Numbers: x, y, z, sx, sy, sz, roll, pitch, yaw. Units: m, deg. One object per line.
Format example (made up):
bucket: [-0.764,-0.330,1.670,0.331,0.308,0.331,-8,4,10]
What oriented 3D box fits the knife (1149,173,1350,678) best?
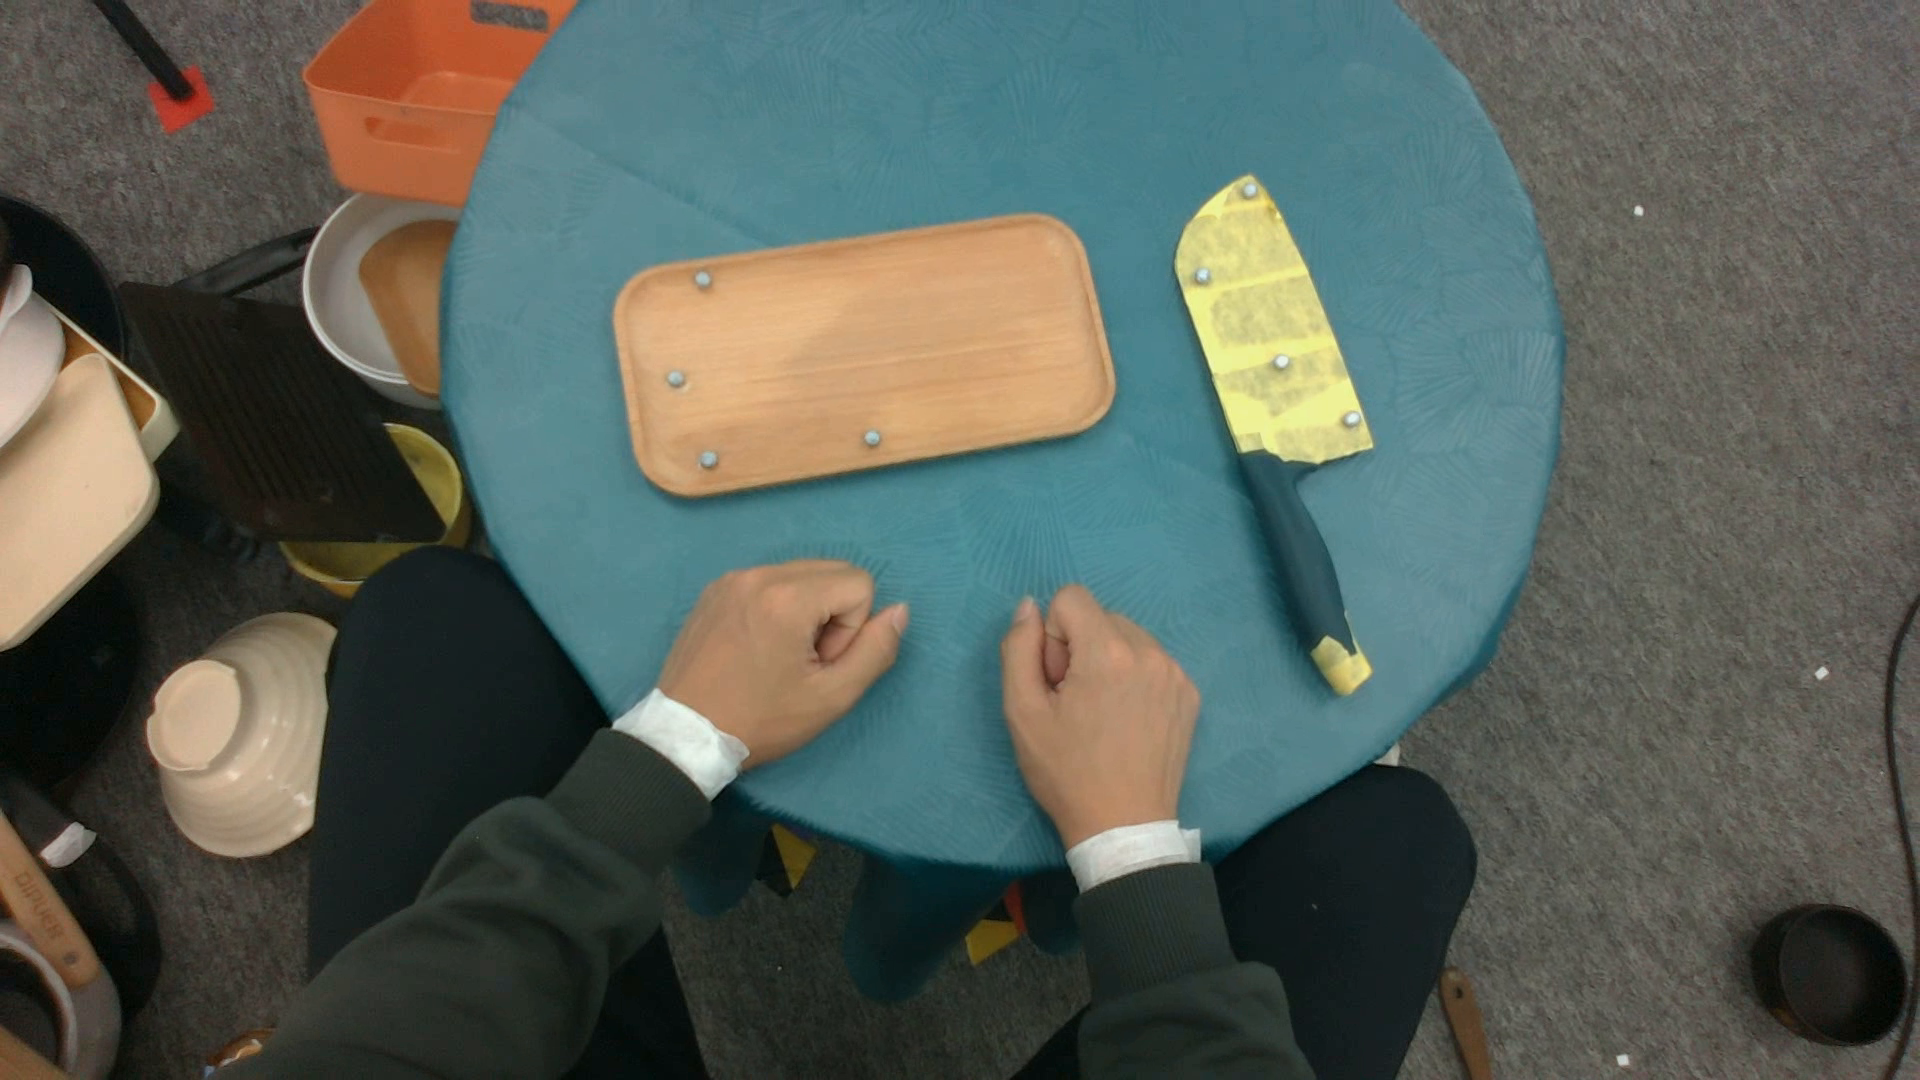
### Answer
knife: [0.165,-0.069,0.733,0.081,0.027,0.290,-11,75,-8]

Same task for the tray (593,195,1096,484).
tray: [-0.059,-0.106,0.718,0.251,0.023,0.131,-10,78,-9]
